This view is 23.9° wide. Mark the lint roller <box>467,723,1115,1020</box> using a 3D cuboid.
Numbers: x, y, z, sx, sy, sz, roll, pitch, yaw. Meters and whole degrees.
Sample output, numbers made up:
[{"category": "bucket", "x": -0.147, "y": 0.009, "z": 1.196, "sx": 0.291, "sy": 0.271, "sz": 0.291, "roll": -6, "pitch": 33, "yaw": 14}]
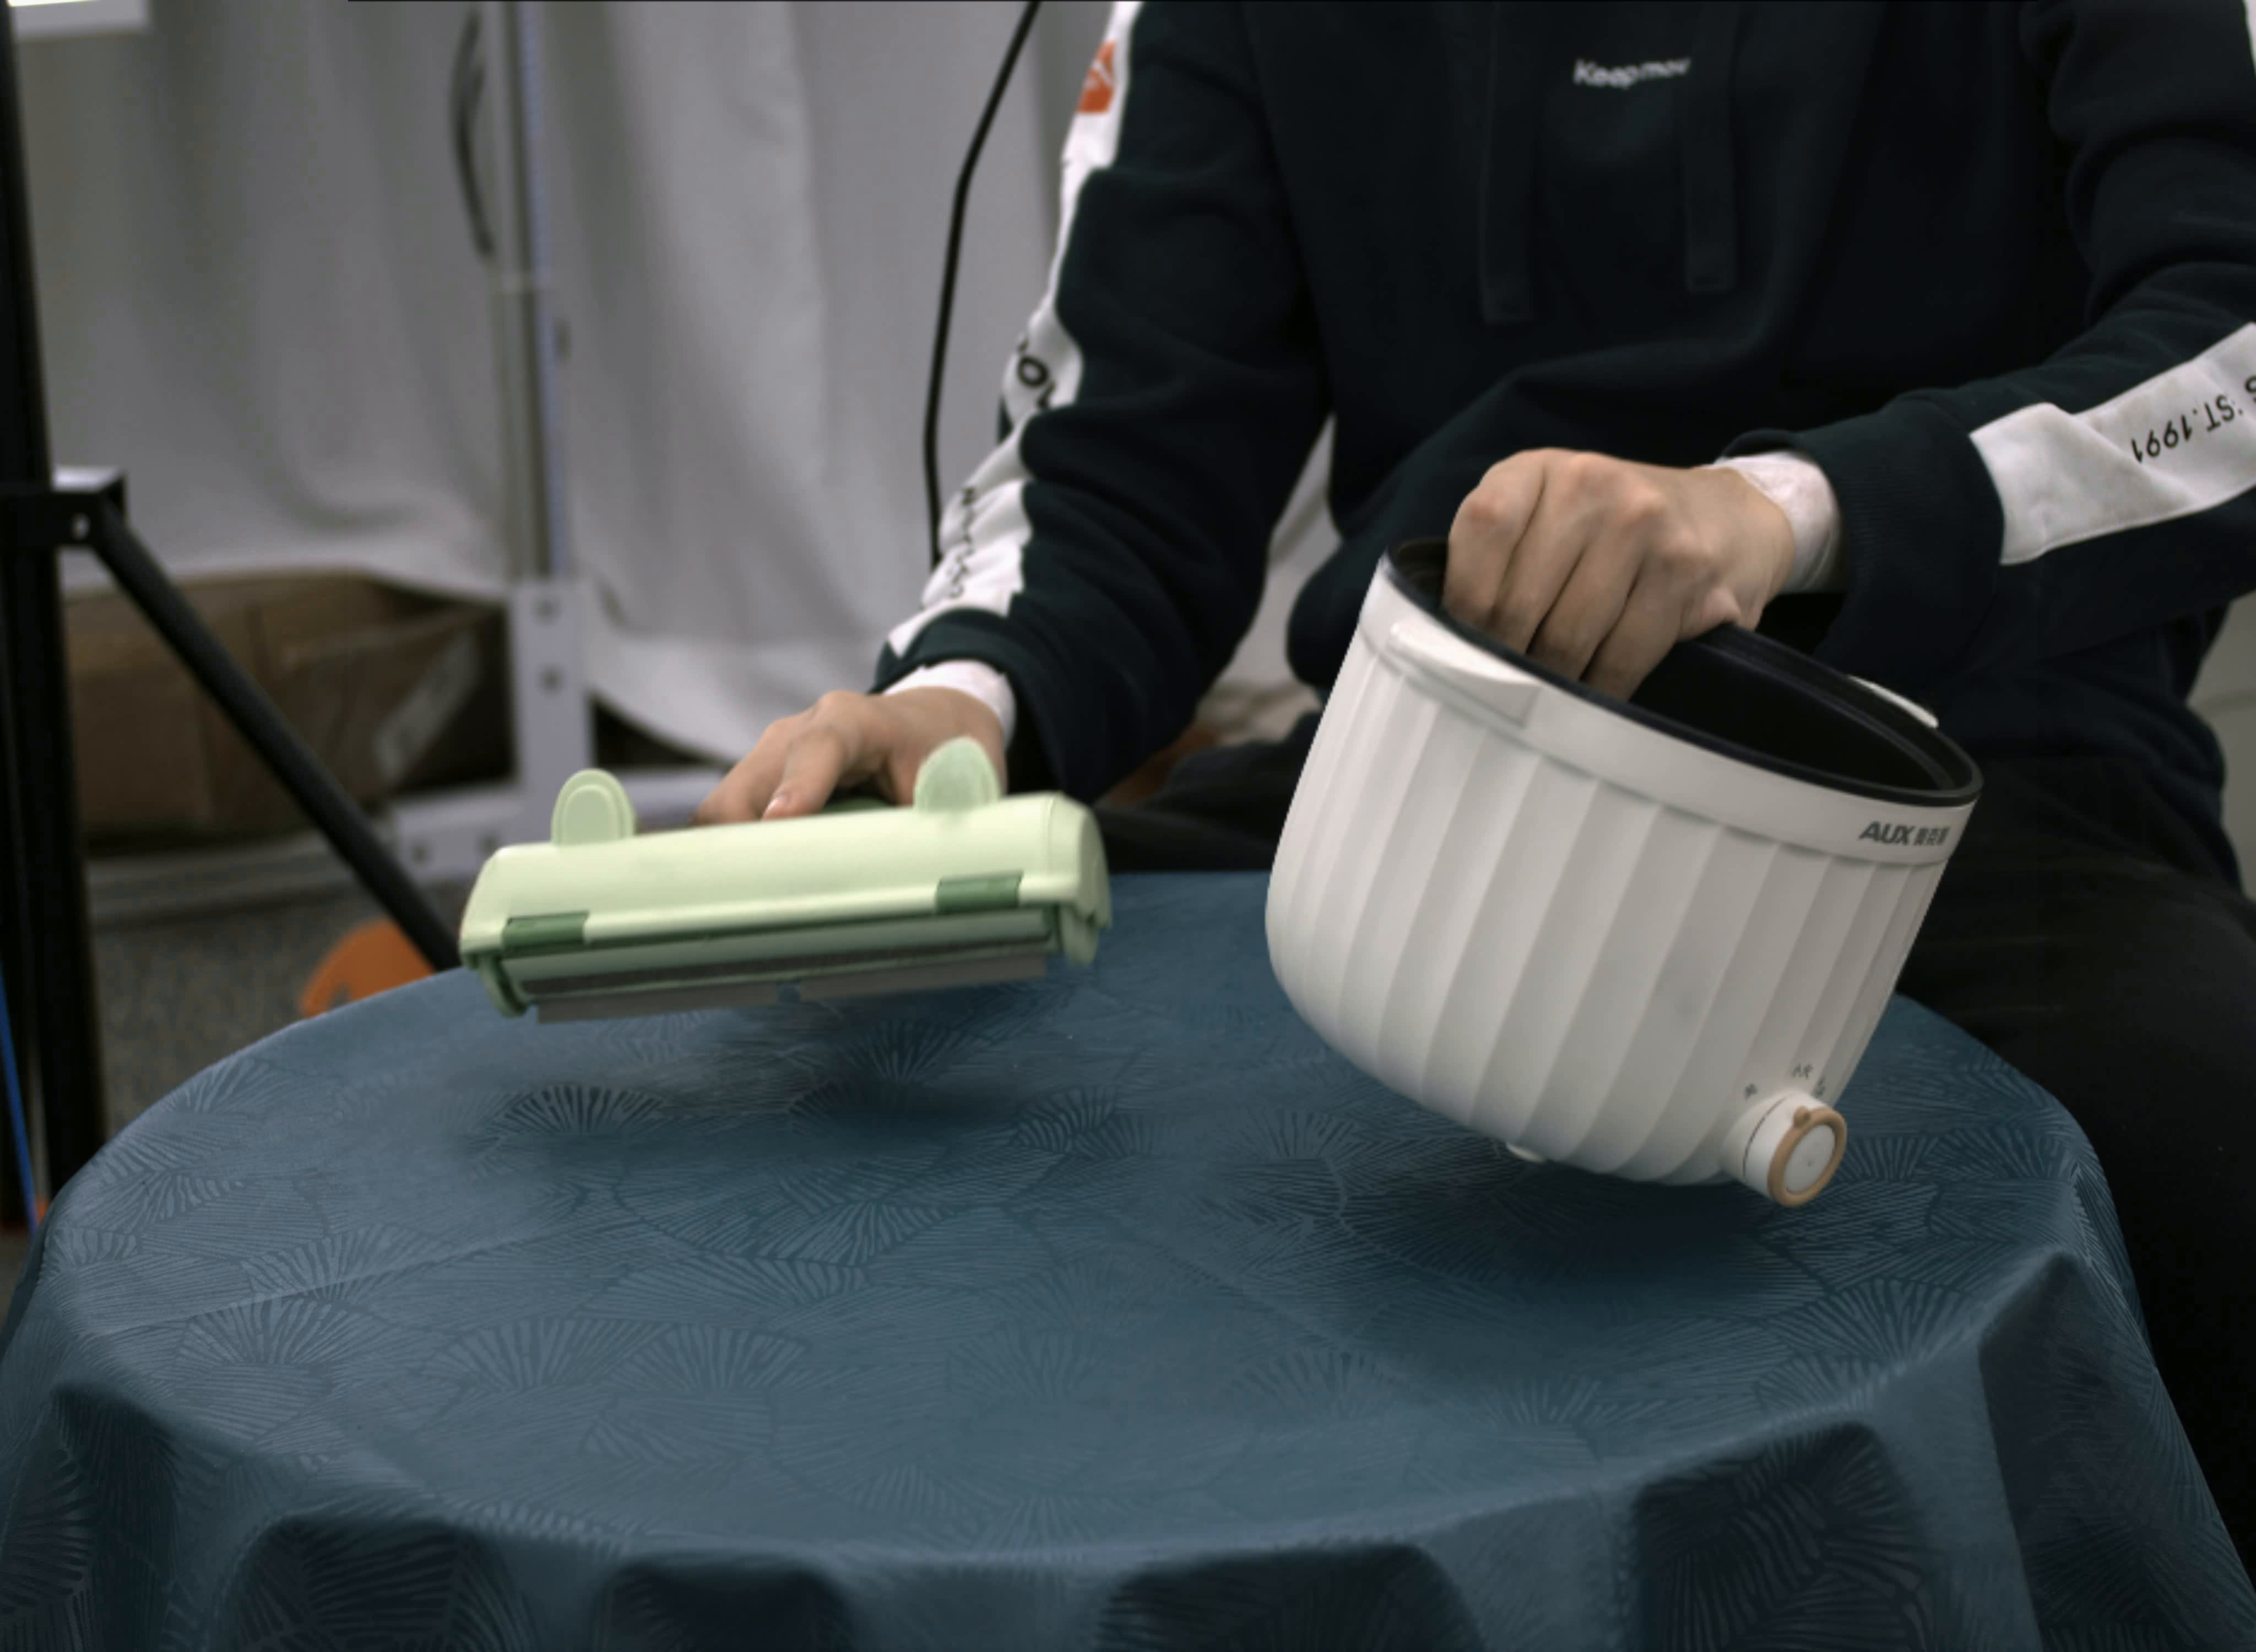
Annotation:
[{"category": "lint roller", "x": -0.098, "y": -0.002, "z": 1.697, "sx": 0.199, "sy": 0.082, "sz": 0.183, "roll": -7, "pitch": 19, "yaw": 12}]

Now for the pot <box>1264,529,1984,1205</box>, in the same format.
[{"category": "pot", "x": 0.138, "y": 0.016, "z": 1.501, "sx": 0.195, "sy": 0.143, "sz": 0.234, "roll": 29, "pitch": 17, "yaw": 39}]
